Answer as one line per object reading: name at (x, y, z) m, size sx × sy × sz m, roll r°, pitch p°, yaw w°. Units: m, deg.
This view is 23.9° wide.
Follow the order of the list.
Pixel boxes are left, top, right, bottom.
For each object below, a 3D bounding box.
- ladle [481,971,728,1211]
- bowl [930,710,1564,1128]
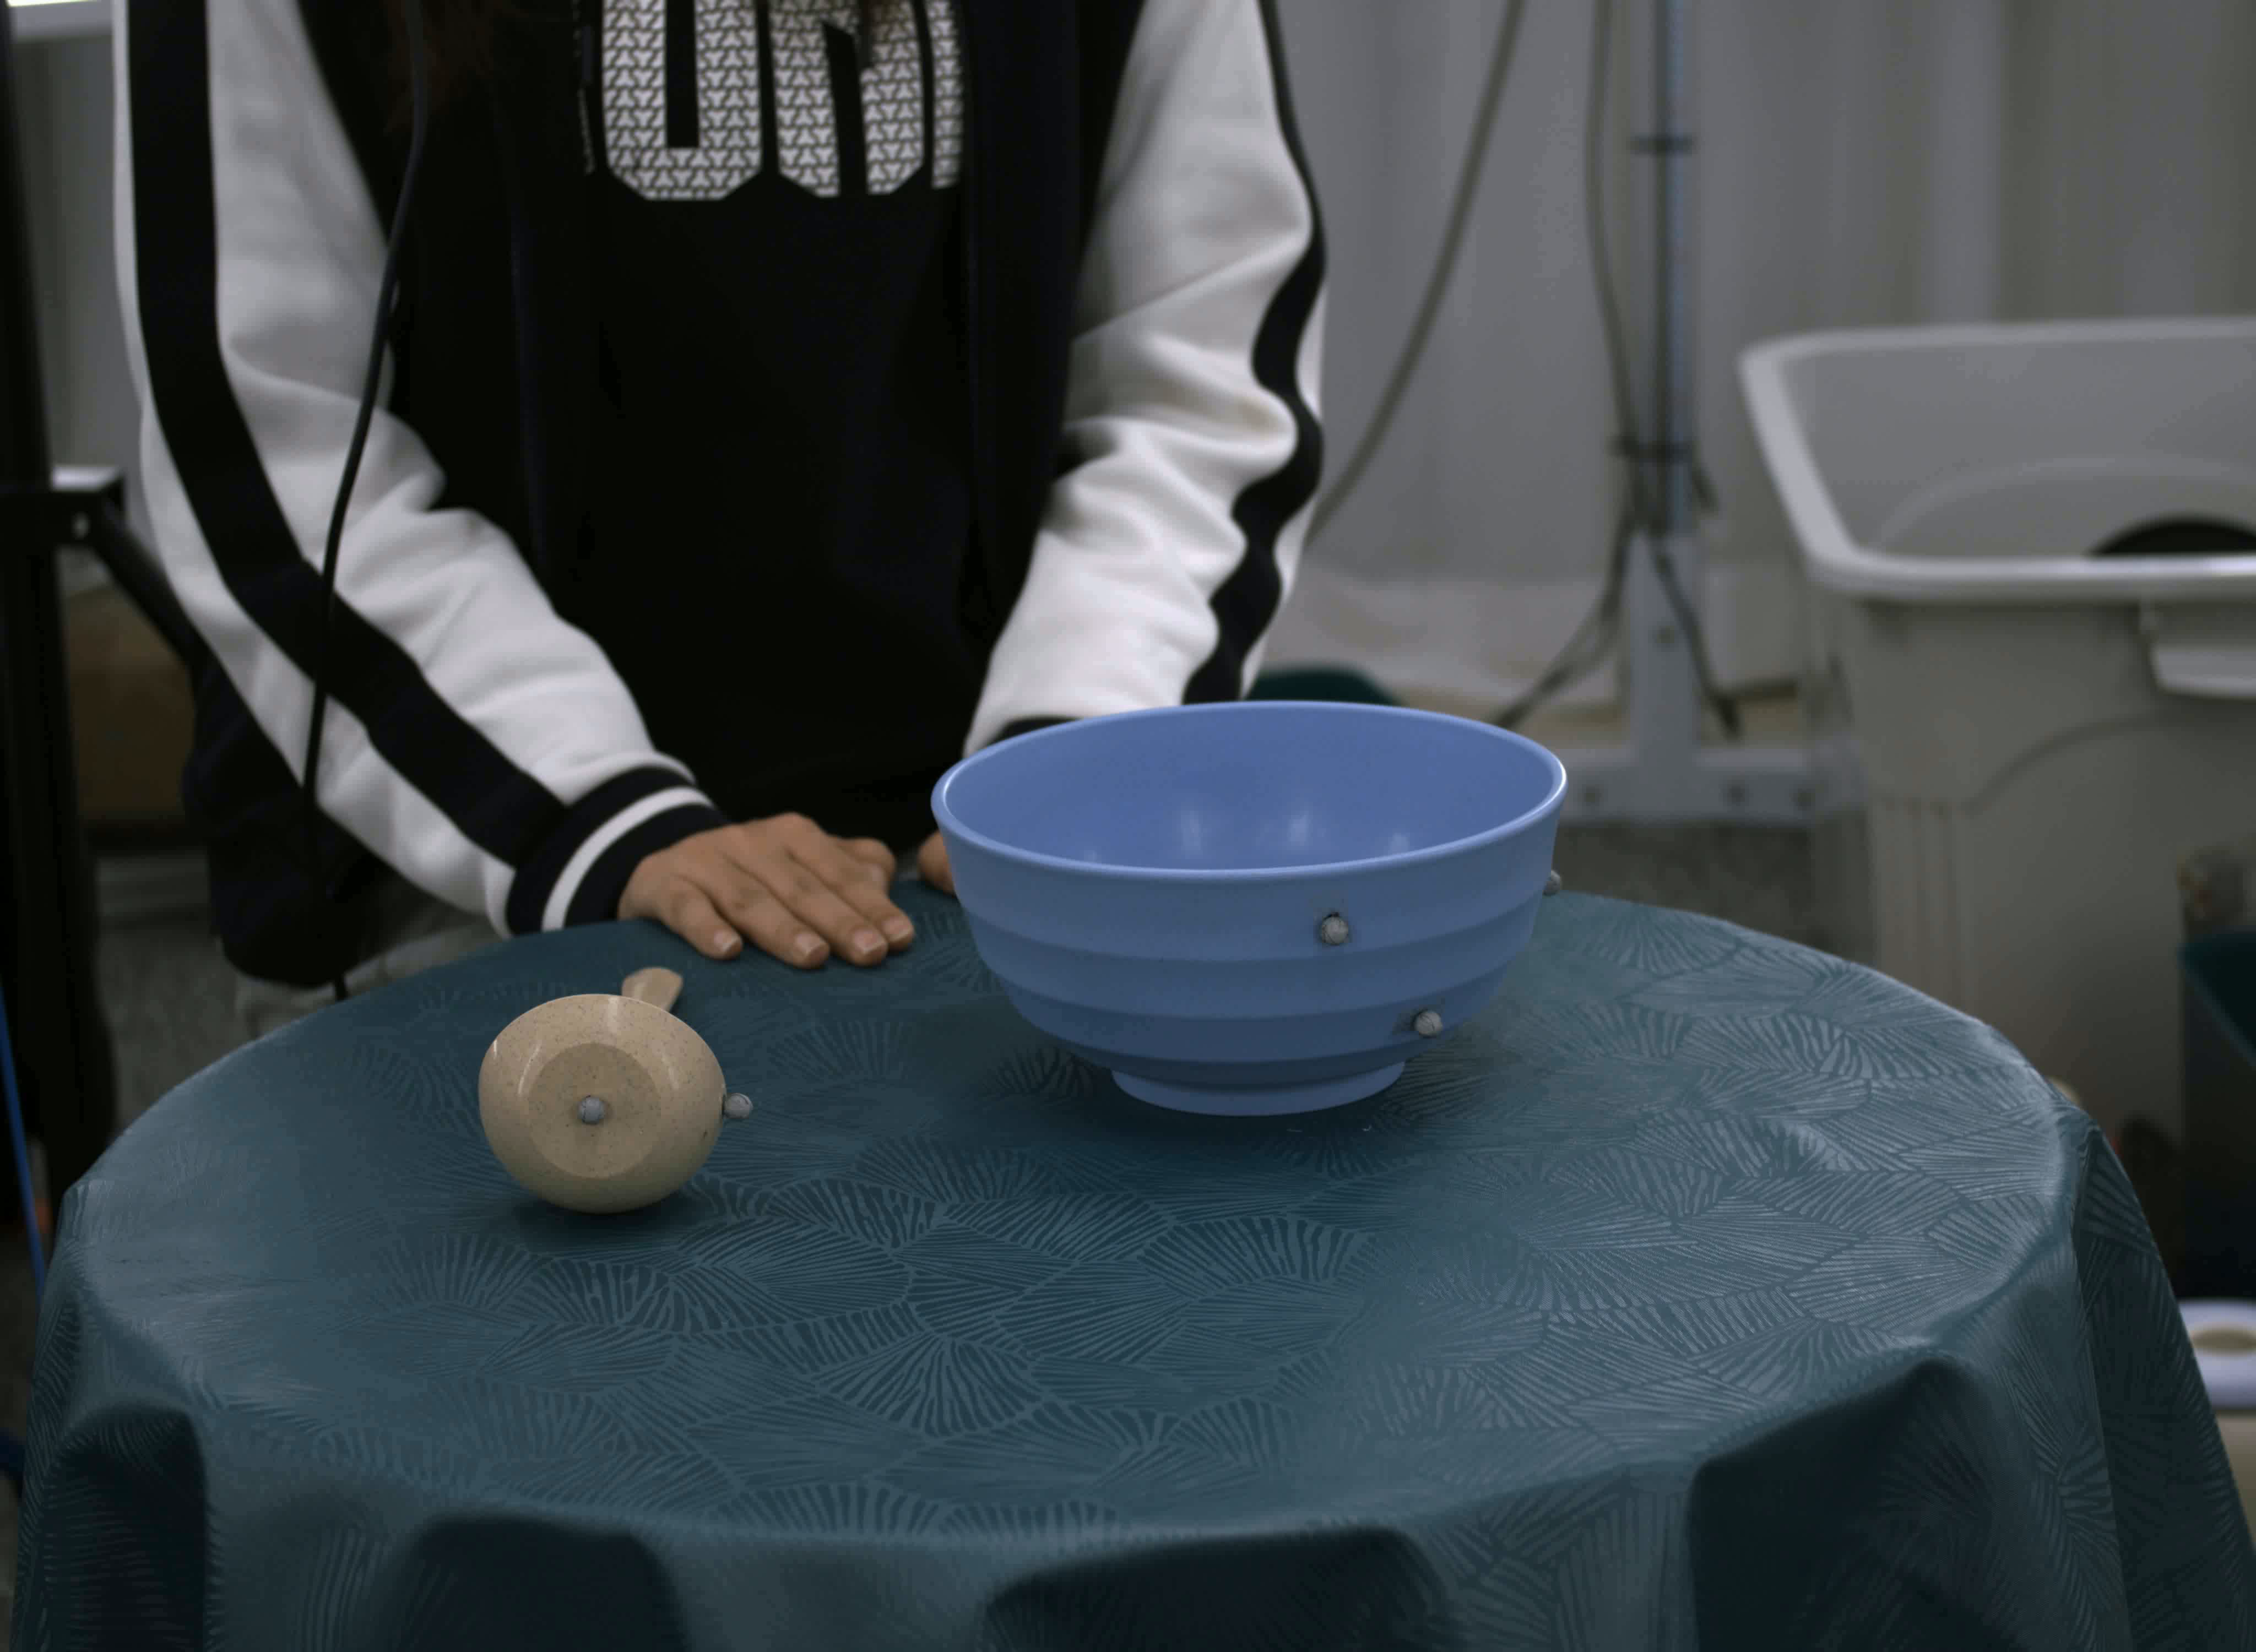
ladle at (-0.158, 0.051, 1.650) m, size 0.071 × 0.073 × 0.256 m, roll -2°, pitch 16°, yaw -2°
bowl at (0.039, 0.035, 1.650) m, size 0.195 × 0.095 × 0.197 m, roll -4°, pitch 15°, yaw 0°
